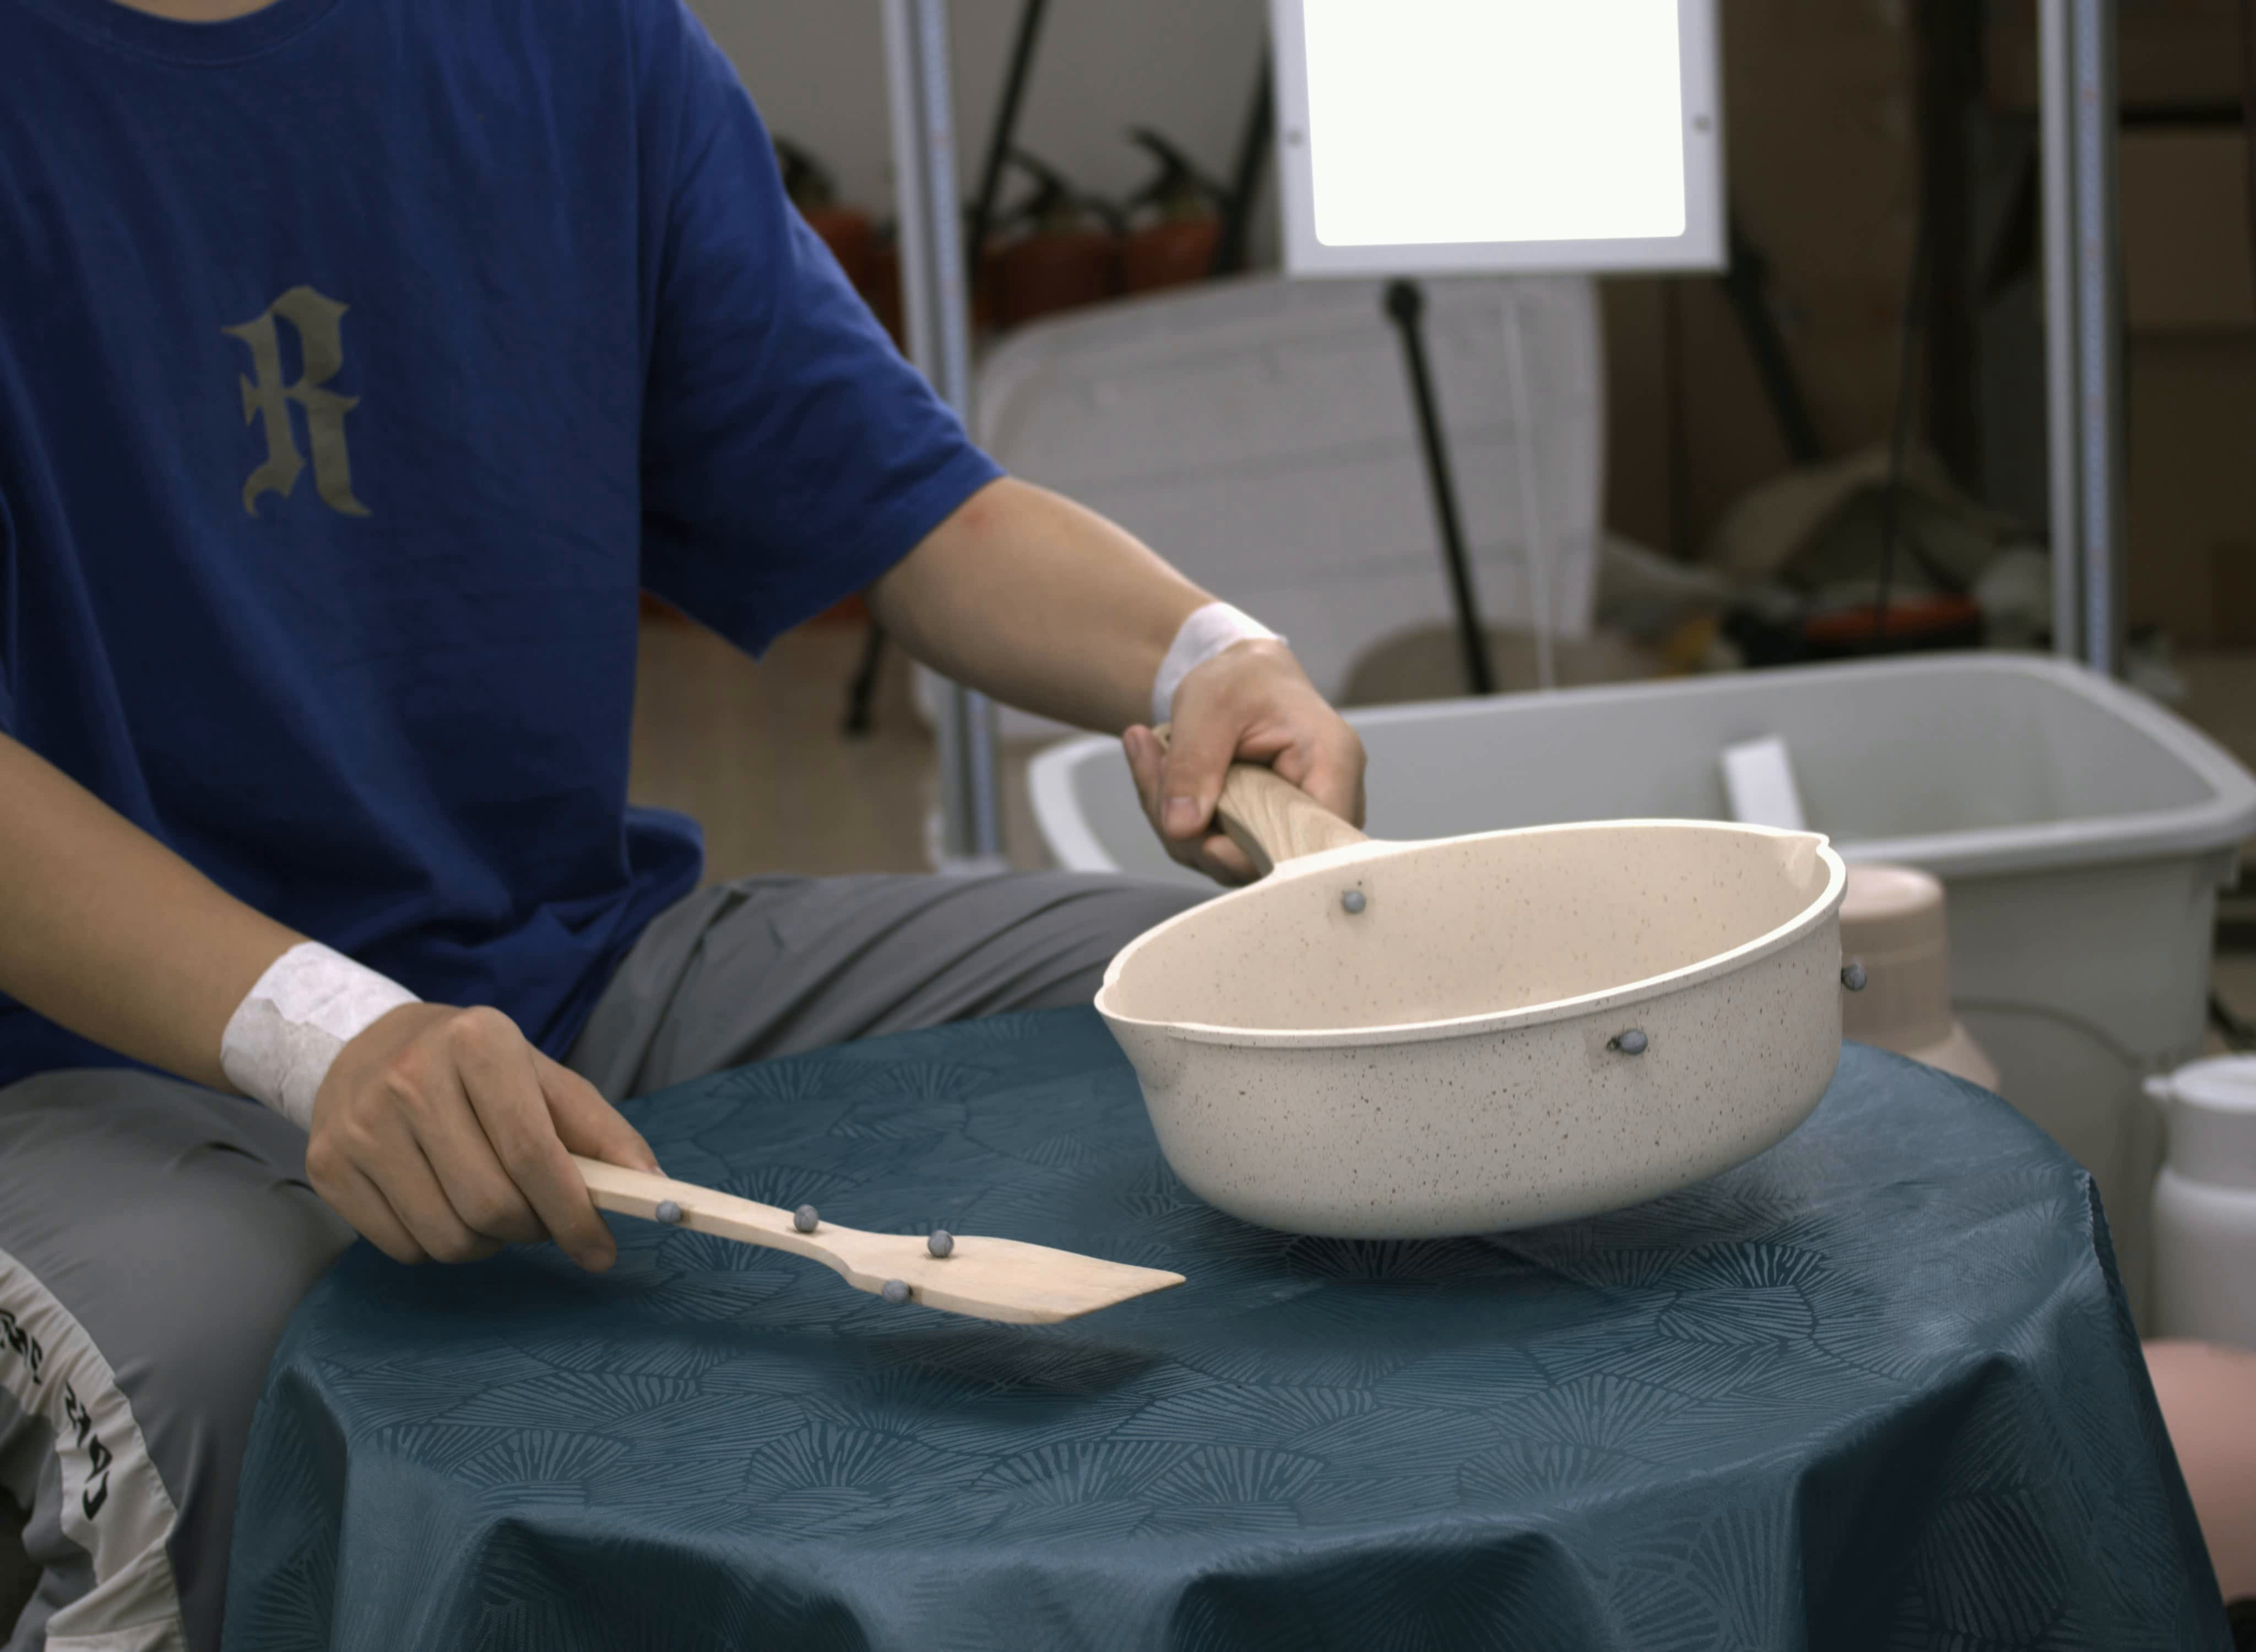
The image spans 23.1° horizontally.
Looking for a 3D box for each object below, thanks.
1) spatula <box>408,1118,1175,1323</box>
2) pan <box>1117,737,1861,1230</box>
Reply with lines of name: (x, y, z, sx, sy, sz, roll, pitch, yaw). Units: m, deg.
spatula: (-0.121, 0.126, 1.788, 0.299, 0.011, 0.070, 11, 13, 36)
pan: (0.095, 0.045, 1.925, 0.259, 0.102, 0.440, -16, 13, -16)
